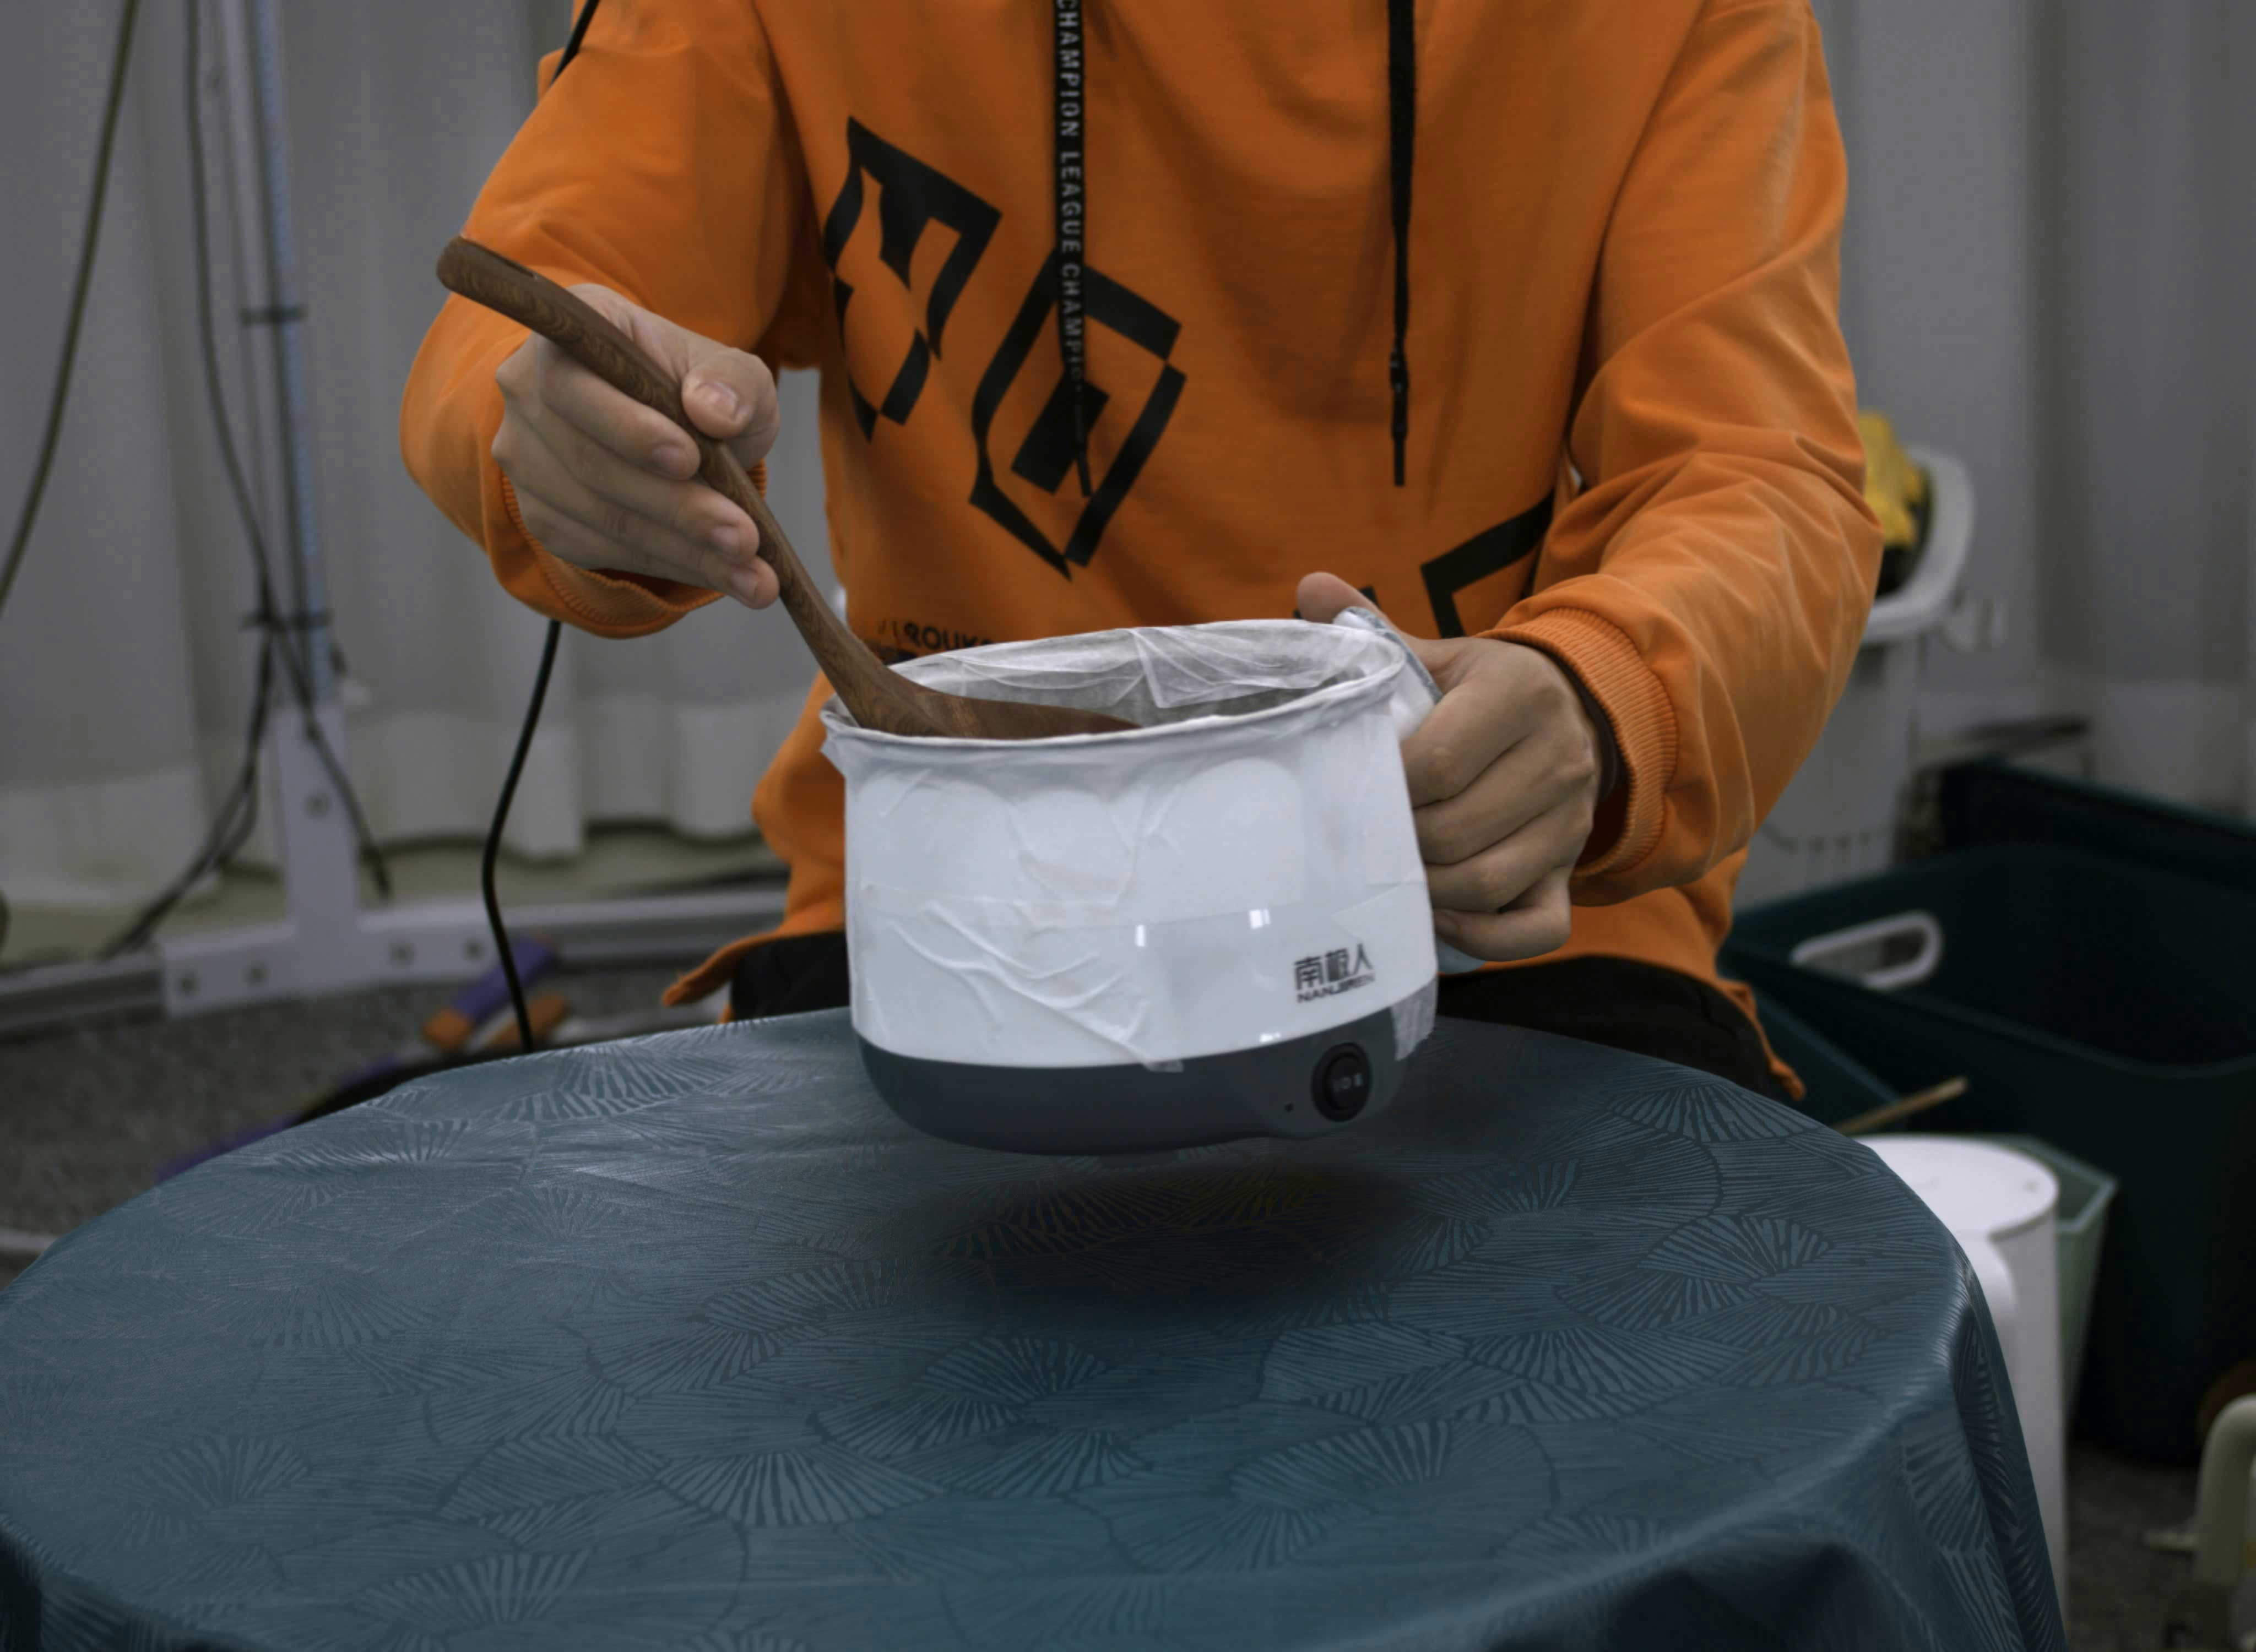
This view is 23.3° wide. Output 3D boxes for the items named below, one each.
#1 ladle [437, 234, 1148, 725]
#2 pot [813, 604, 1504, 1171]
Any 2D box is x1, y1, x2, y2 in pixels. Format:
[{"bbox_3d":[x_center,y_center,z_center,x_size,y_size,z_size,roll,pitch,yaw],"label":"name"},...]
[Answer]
[{"bbox_3d":[-0.095,-0.094,1.621,0.065,0.259,0.077,-42,6,4],"label":"ladle"},{"bbox_3d":[0.020,0.013,1.663,0.233,0.136,0.179,-15,16,-40],"label":"pot"}]
